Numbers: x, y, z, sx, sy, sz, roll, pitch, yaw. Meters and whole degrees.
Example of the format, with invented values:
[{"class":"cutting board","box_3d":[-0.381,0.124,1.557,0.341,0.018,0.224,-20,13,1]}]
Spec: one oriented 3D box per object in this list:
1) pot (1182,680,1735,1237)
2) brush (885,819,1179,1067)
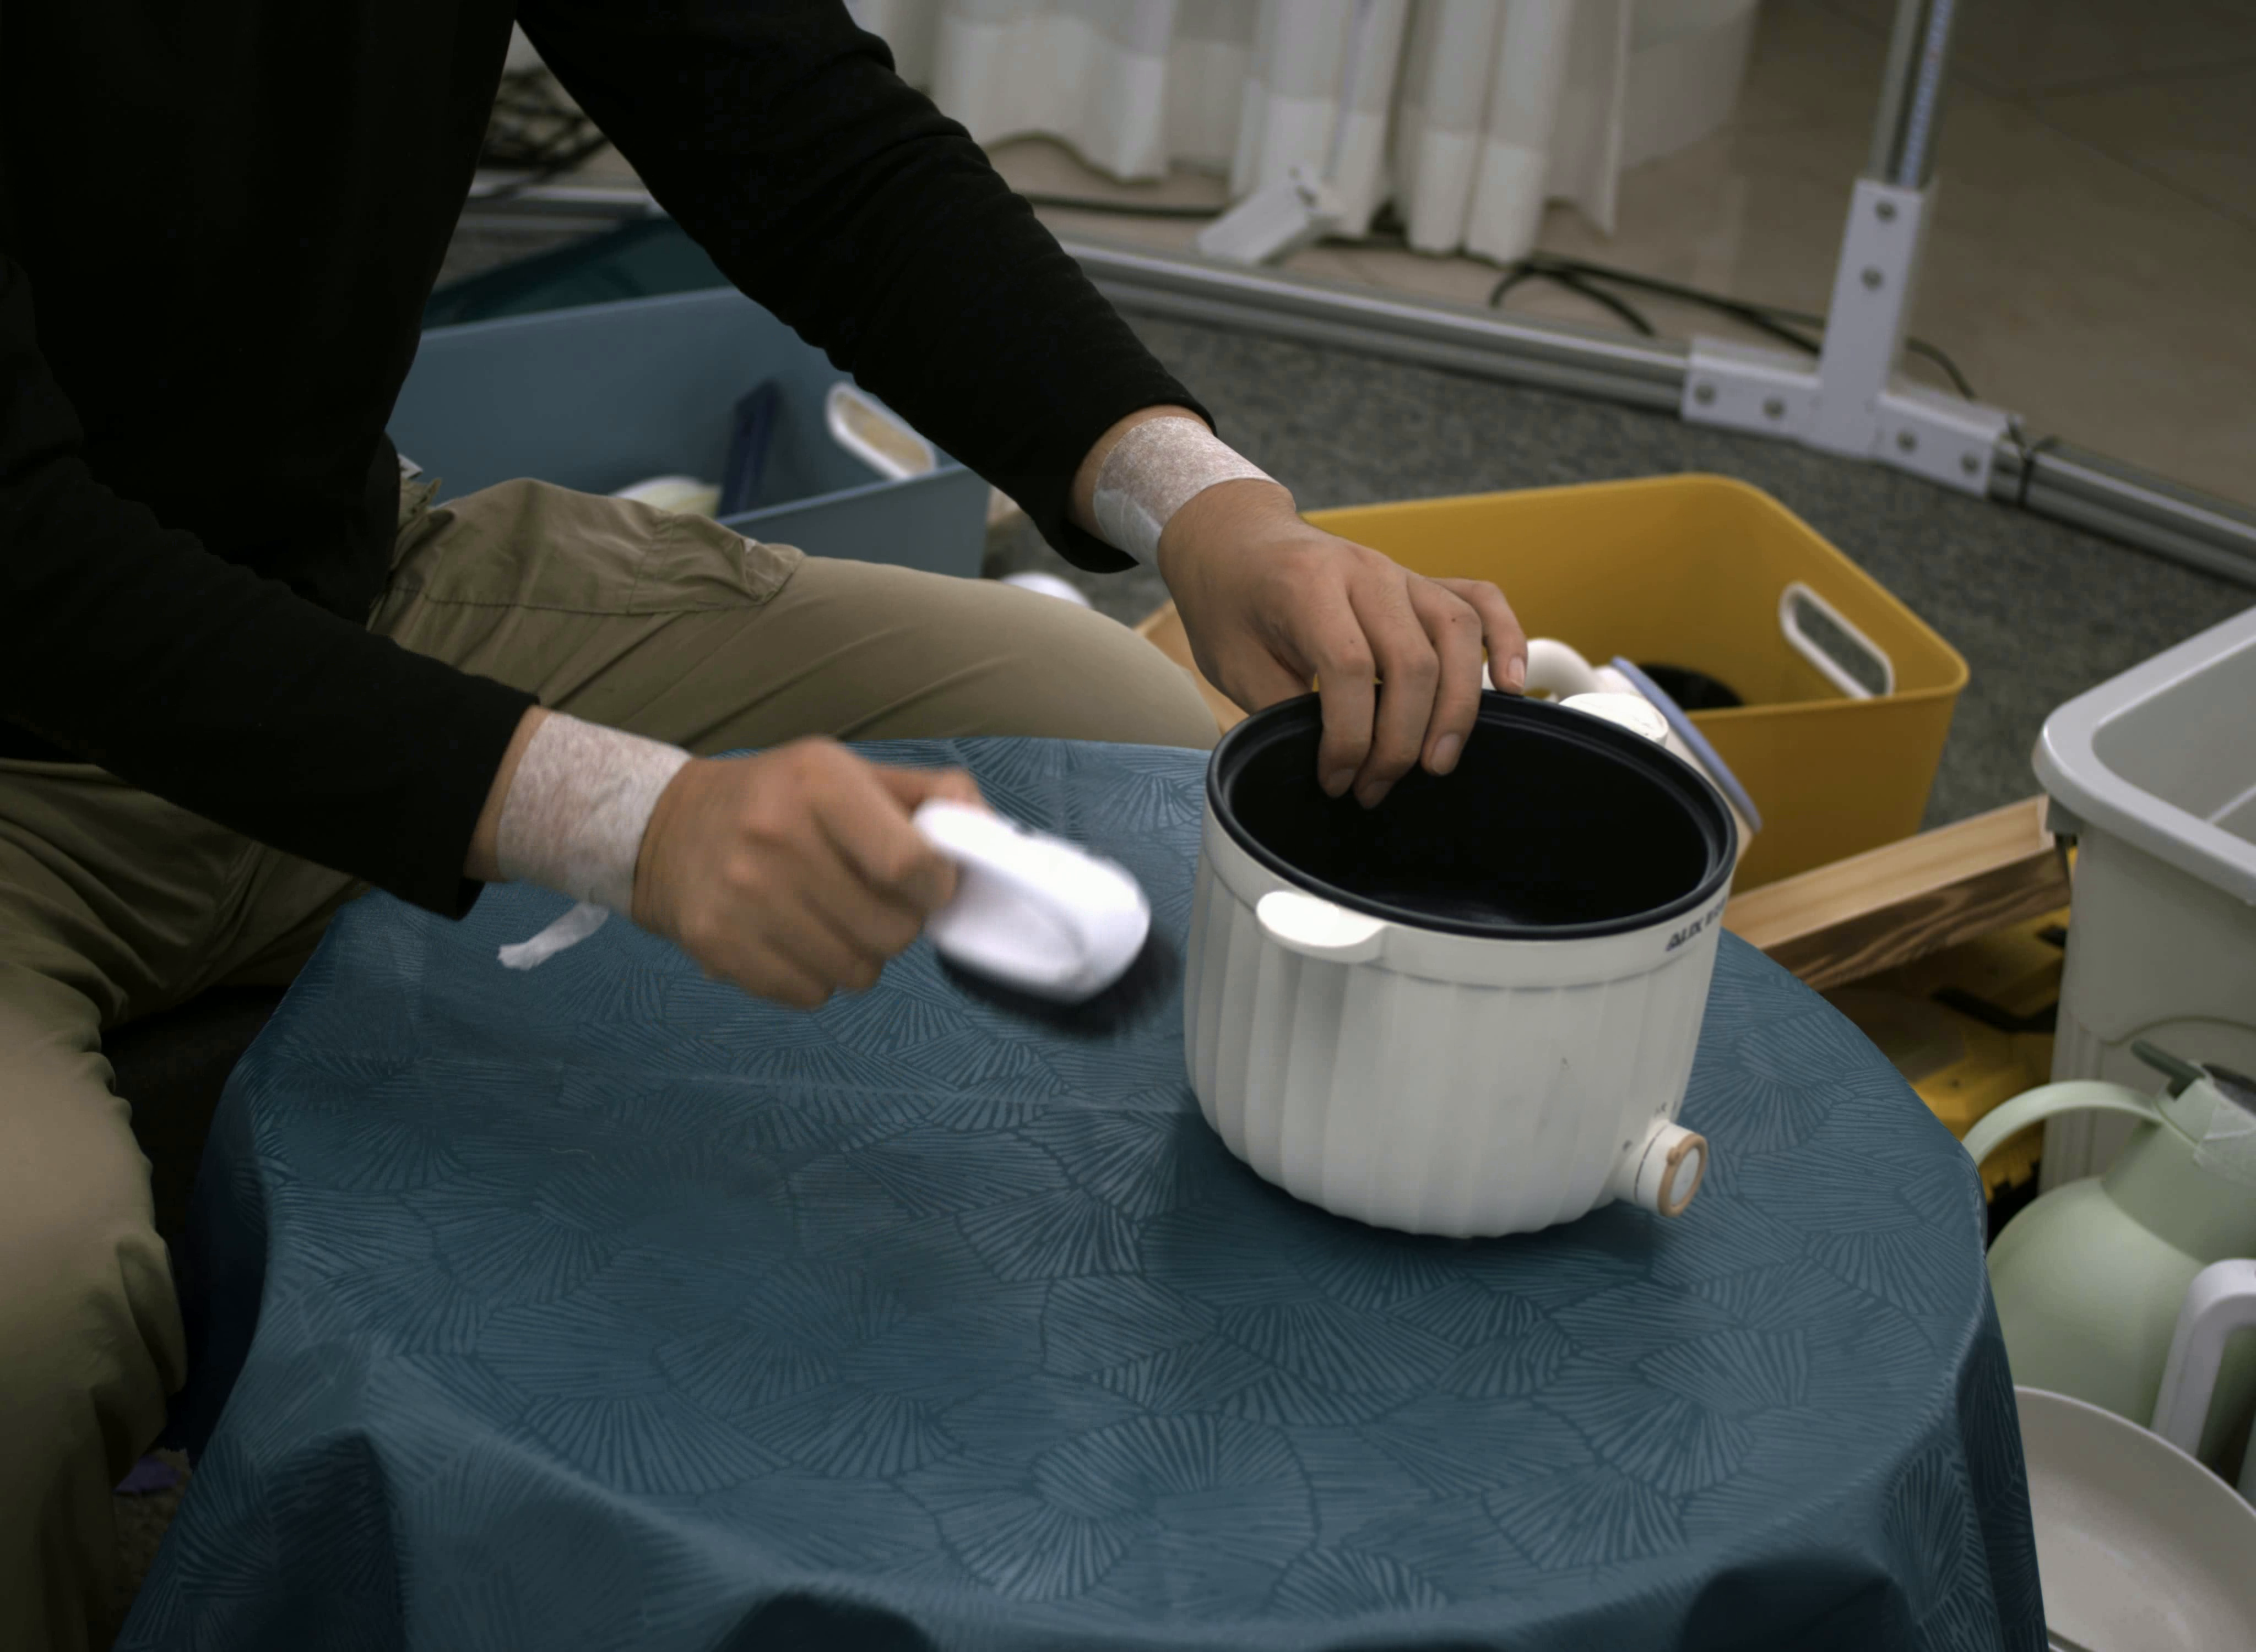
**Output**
[{"class":"pot","box_3d":[0.113,0.051,1.818,0.191,0.142,0.240,18,30,28]},{"class":"brush","box_3d":[-0.038,0.029,1.708,0.100,0.072,0.050,24,68,44]}]
